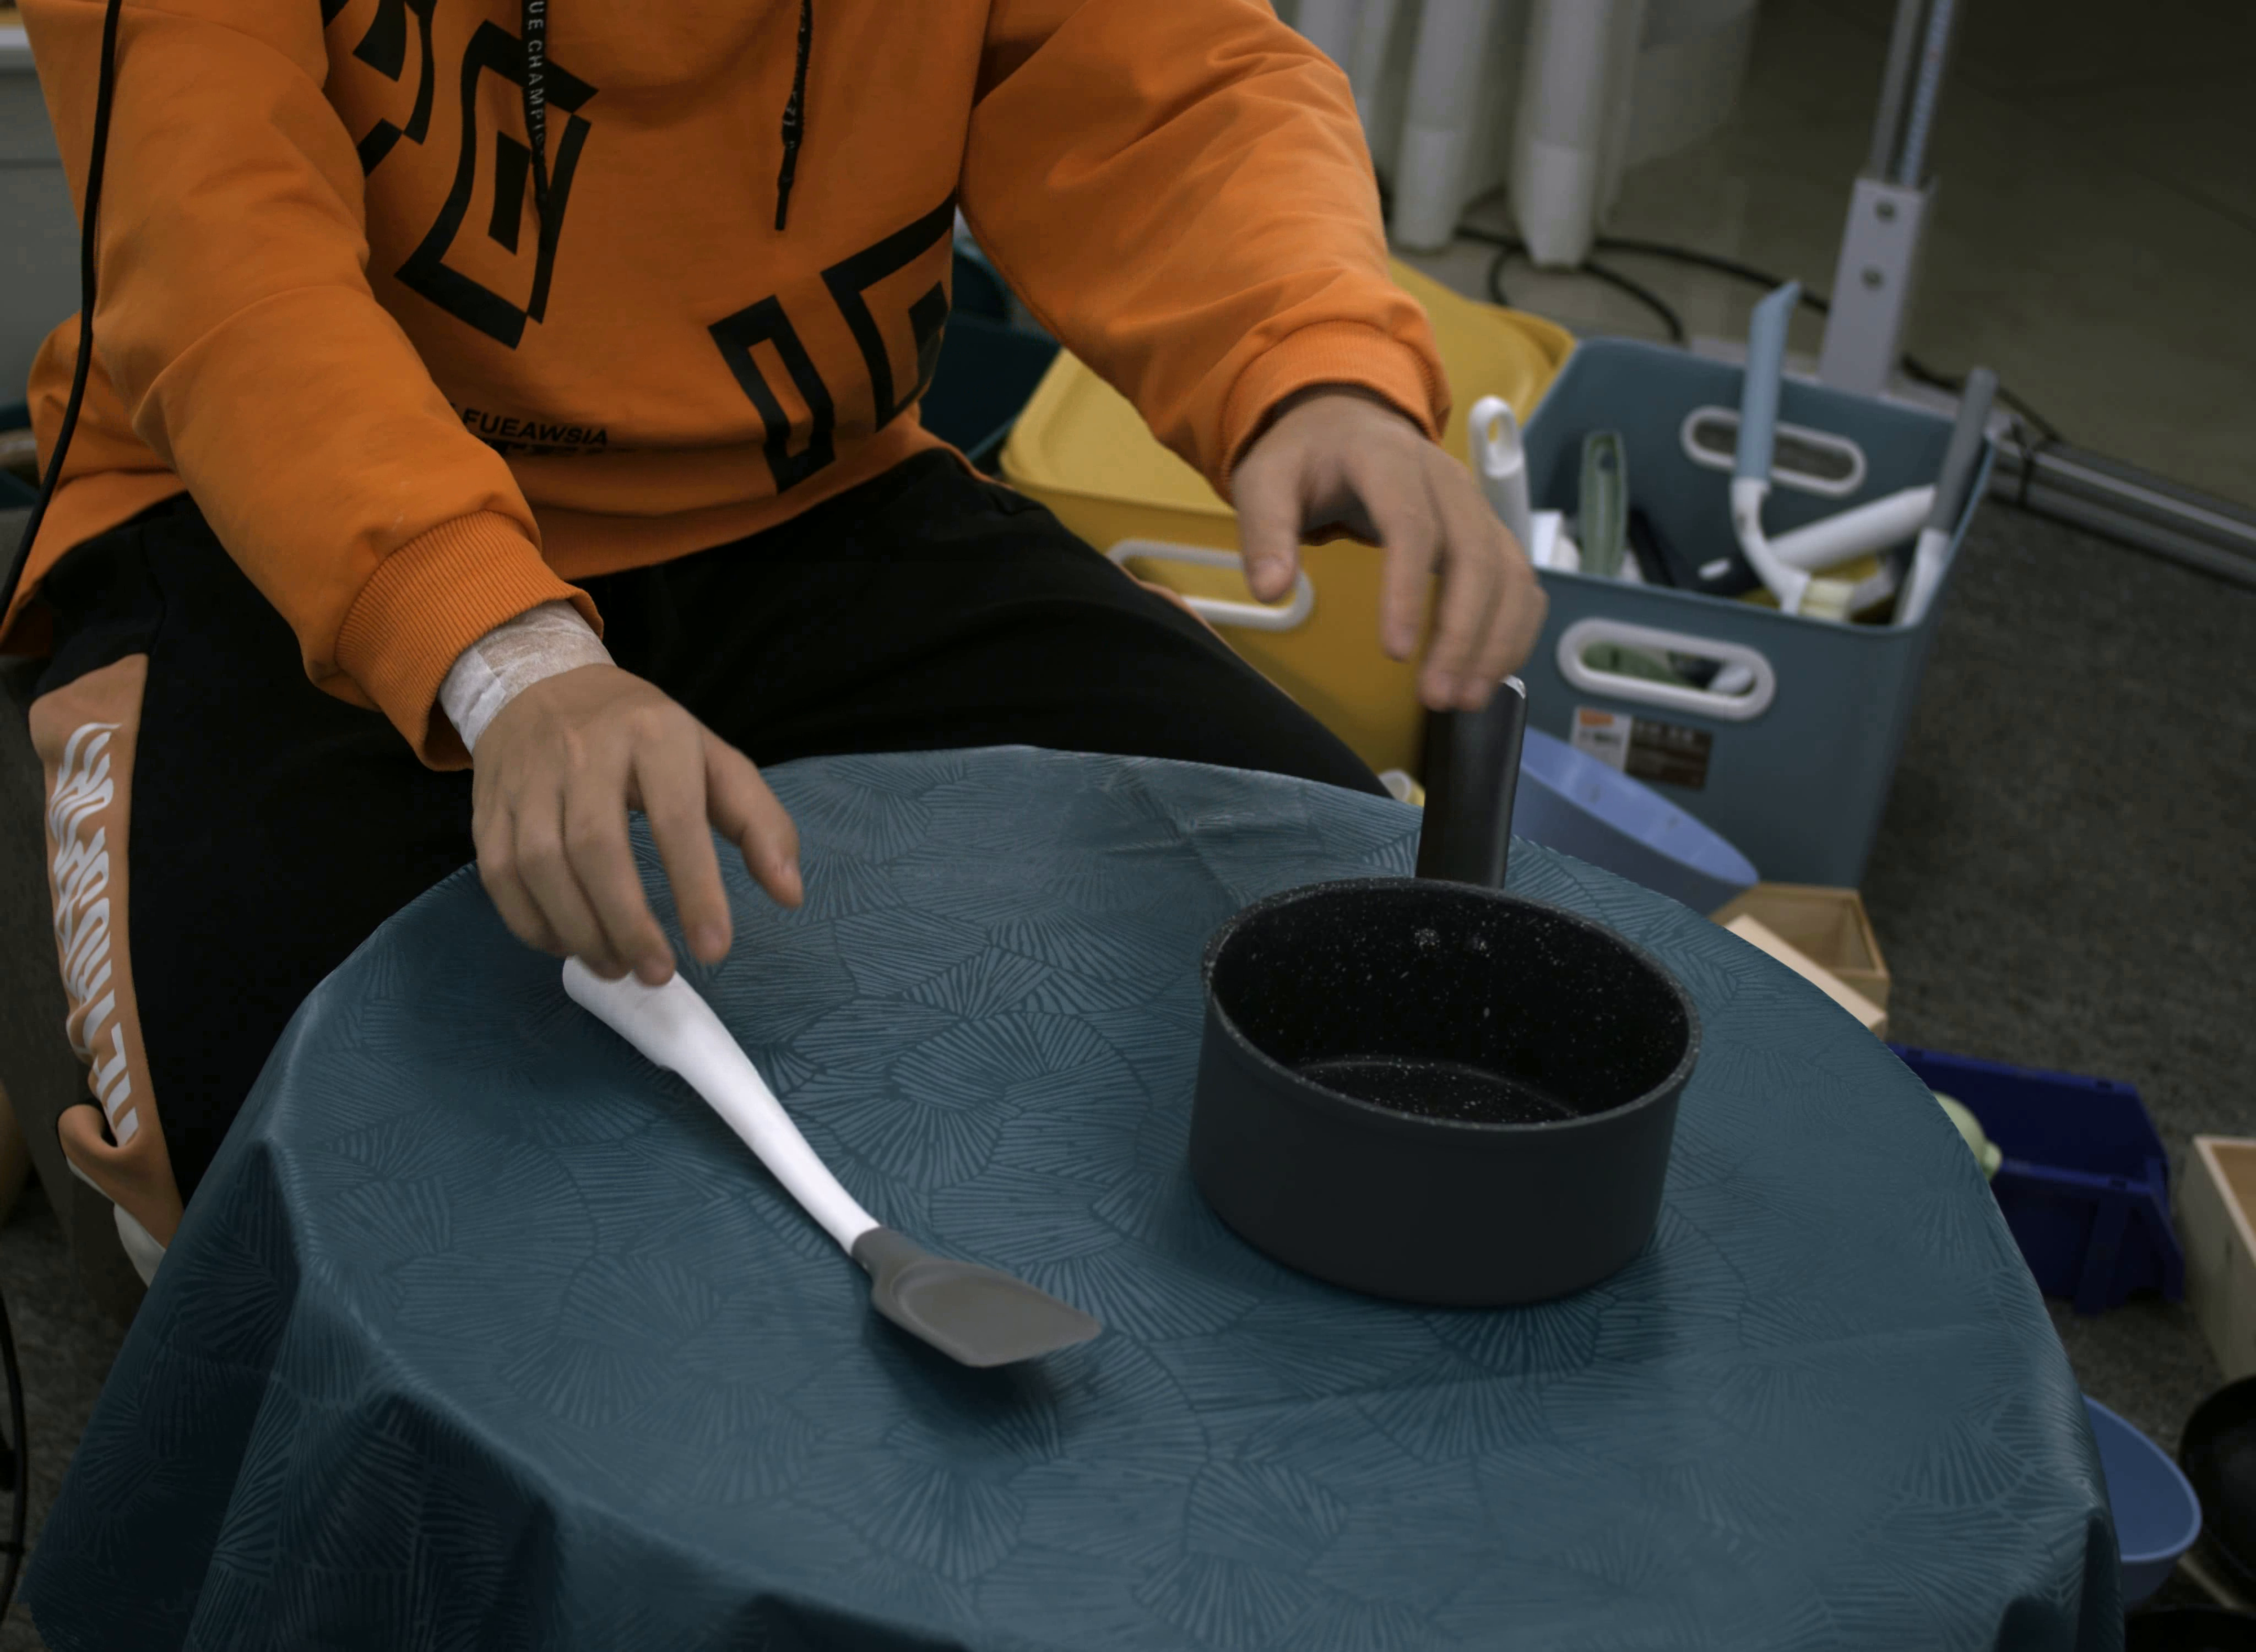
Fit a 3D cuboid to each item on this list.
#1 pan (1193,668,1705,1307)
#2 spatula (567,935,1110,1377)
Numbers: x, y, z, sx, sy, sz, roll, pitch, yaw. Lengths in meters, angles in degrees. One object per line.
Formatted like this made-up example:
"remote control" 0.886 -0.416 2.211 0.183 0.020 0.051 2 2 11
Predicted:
"pan" 0.116 0.052 1.876 0.172 0.086 0.330 10 29 4
"spatula" -0.104 0.113 1.766 0.058 0.032 0.290 -8 30 -34
